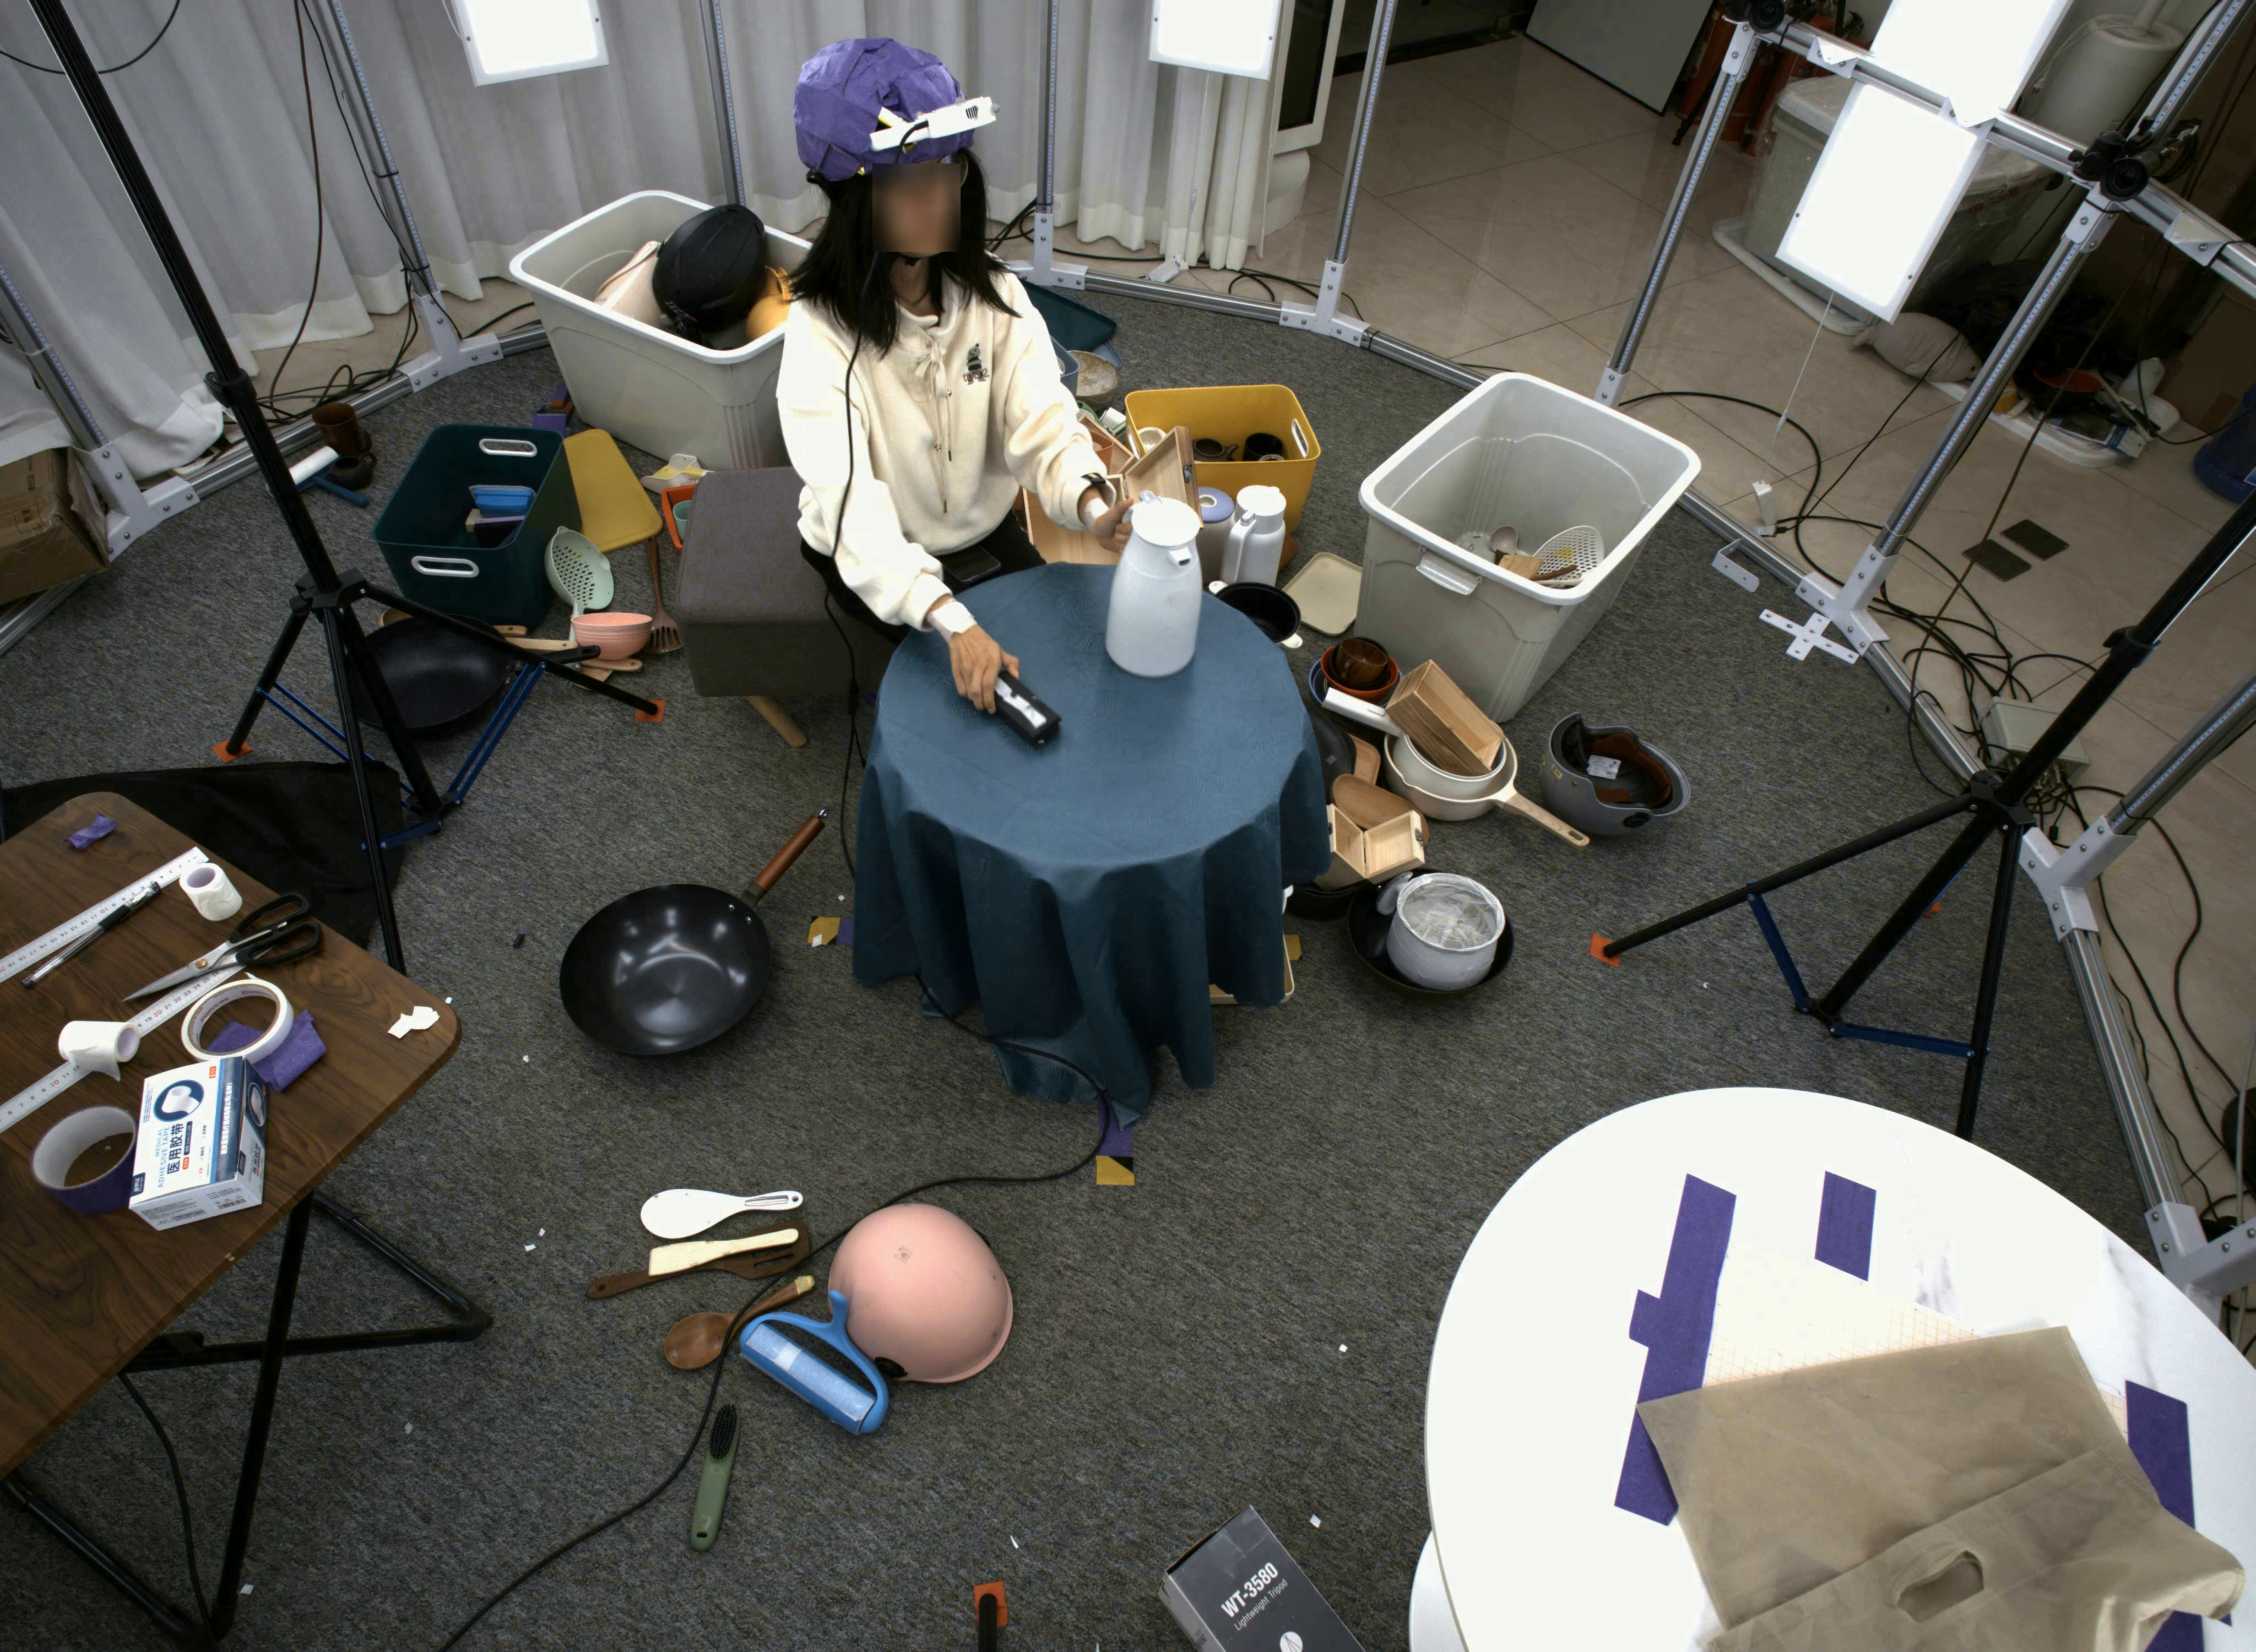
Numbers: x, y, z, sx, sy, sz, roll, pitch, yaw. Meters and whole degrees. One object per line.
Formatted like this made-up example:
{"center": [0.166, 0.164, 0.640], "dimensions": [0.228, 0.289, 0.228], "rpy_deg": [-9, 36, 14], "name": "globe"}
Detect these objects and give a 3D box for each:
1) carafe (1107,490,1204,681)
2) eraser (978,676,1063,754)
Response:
{"center": [0.034, -0.349, 1.810], "dimensions": [0.133, 0.243, 0.171], "rpy_deg": [-19, 56, -18], "name": "carafe"}
{"center": [-0.147, -0.154, 1.770], "dimensions": [0.054, 0.030, 0.127], "rpy_deg": [-37, 60, -19], "name": "eraser"}
